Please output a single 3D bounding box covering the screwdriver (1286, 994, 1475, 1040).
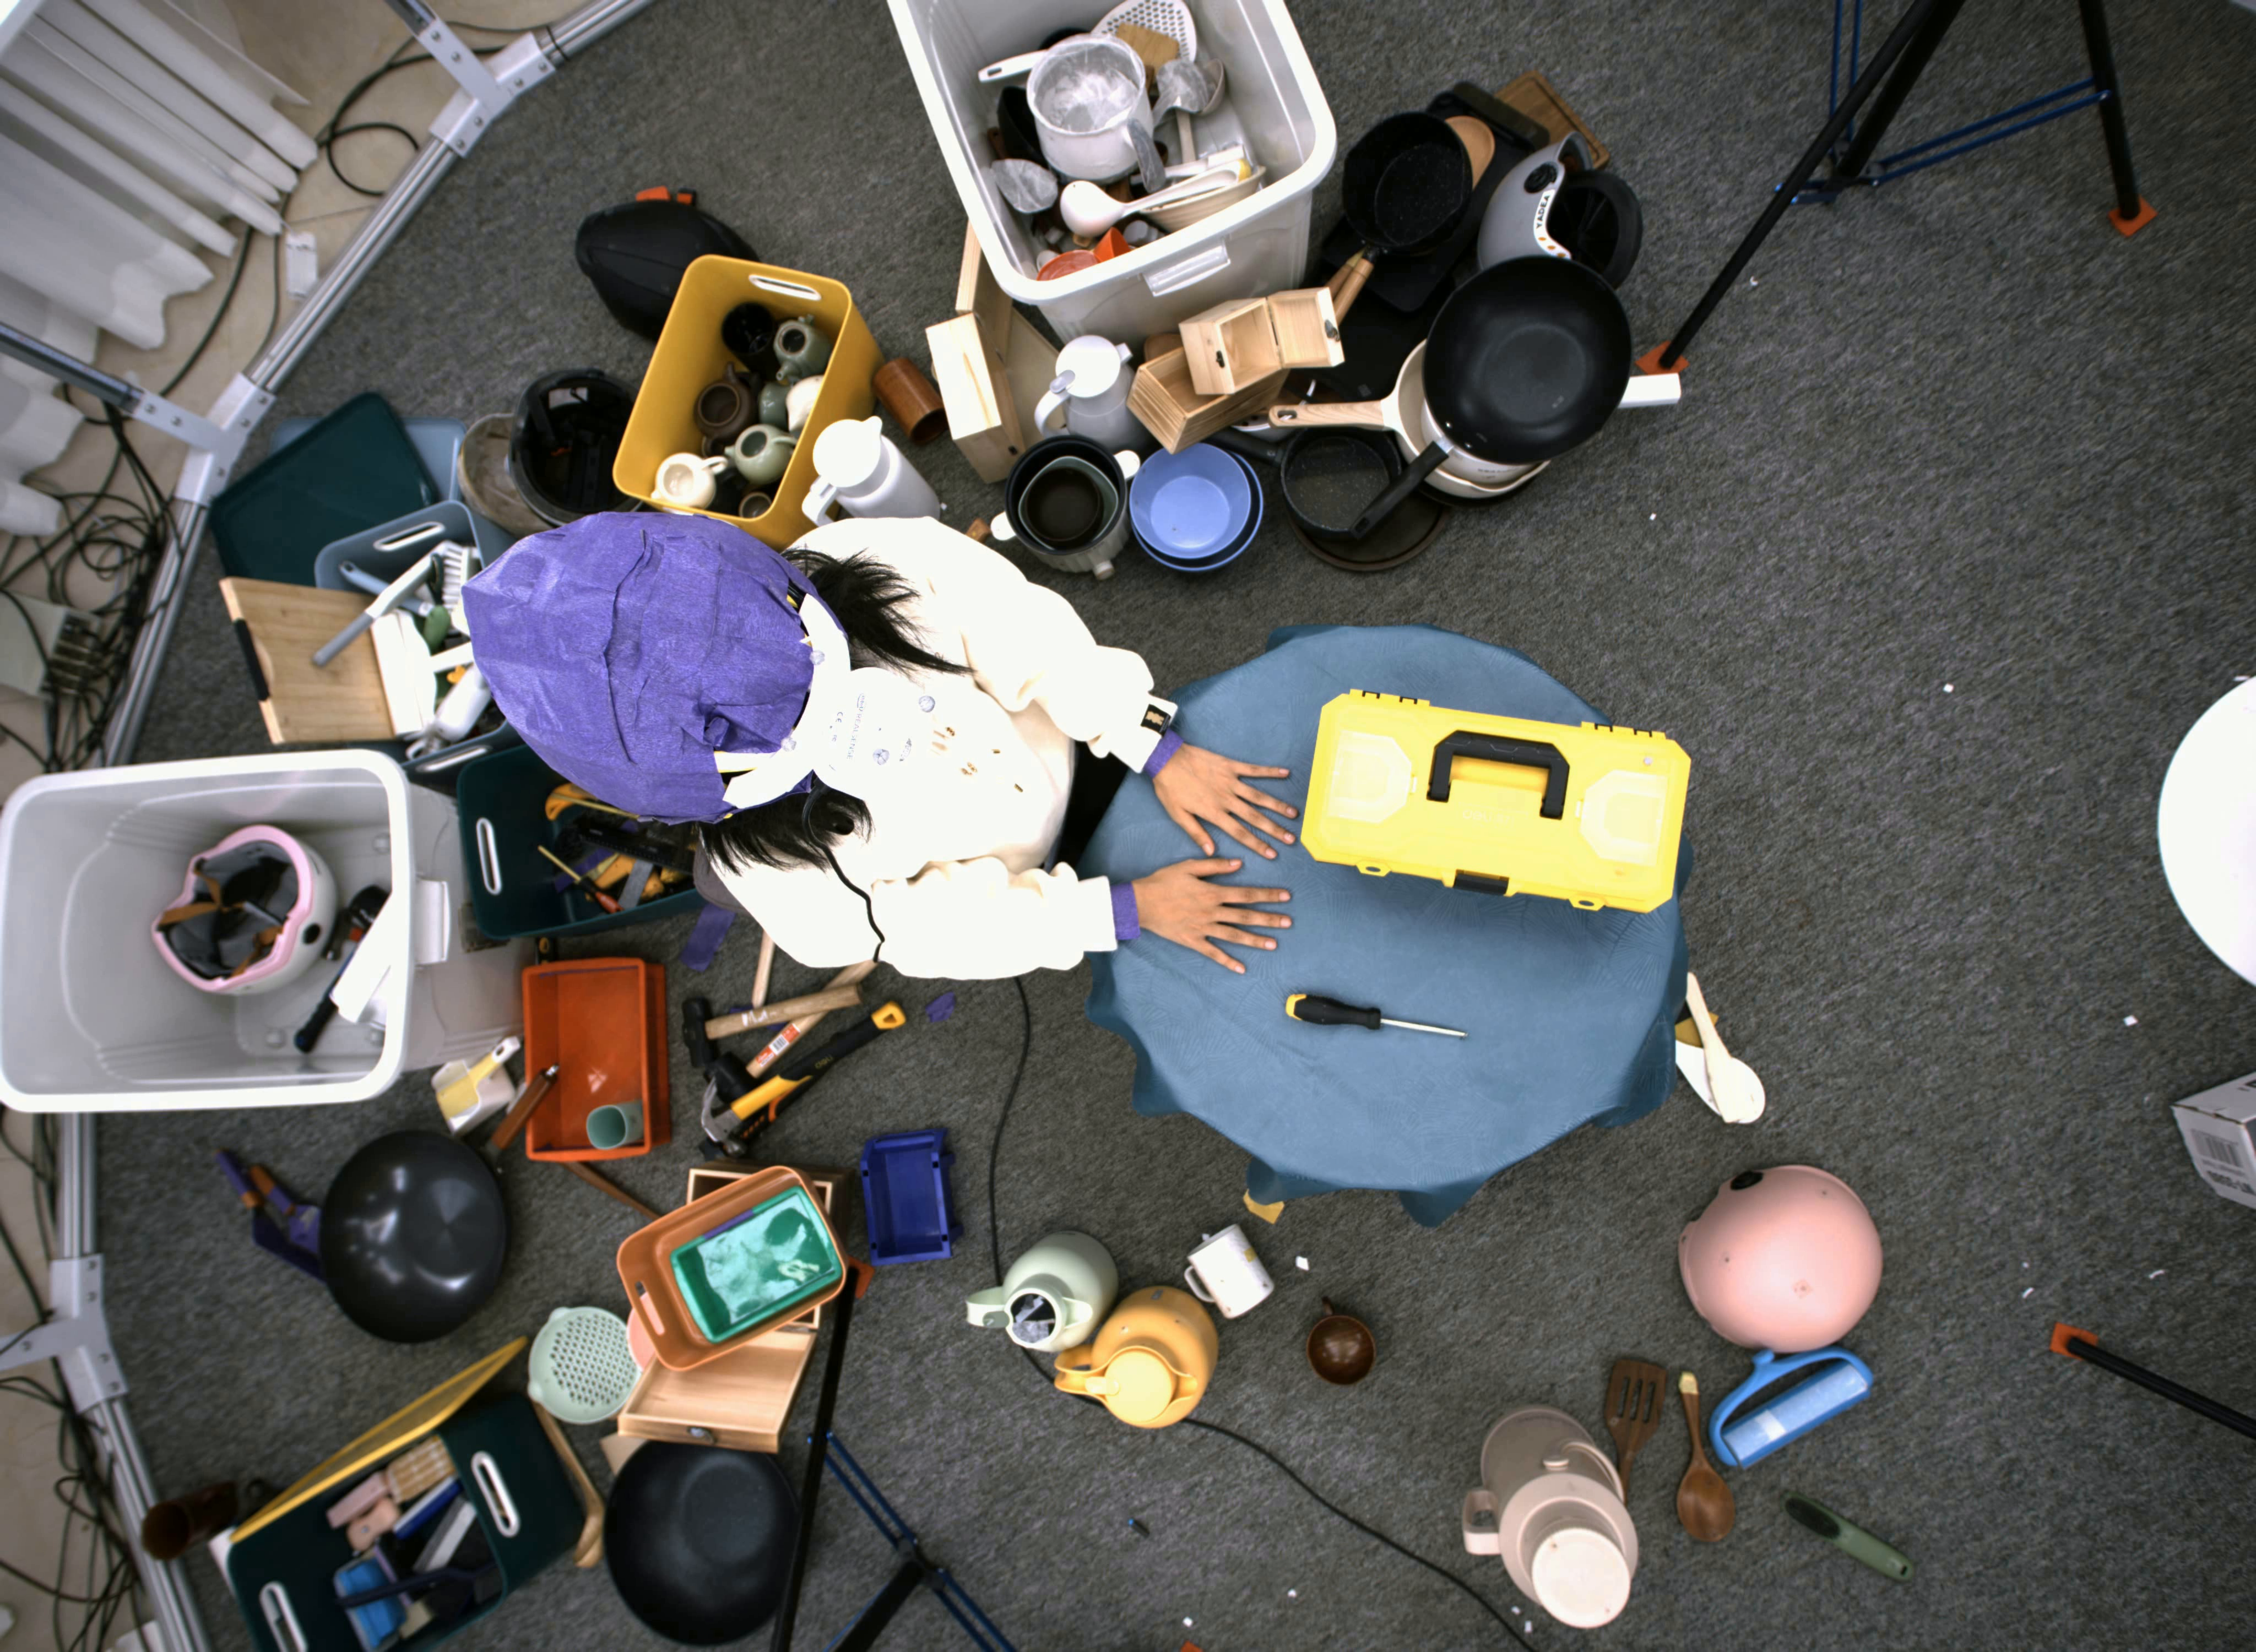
[{"bbox_3d":[0.264,0.203,1.449,0.198,0.031,0.031,10,87,7],"label":"screwdriver"}]

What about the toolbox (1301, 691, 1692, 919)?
[{"bbox_3d":[0.357,-0.021,1.361,0.352,0.173,0.181,9,87,11],"label":"toolbox"}]
